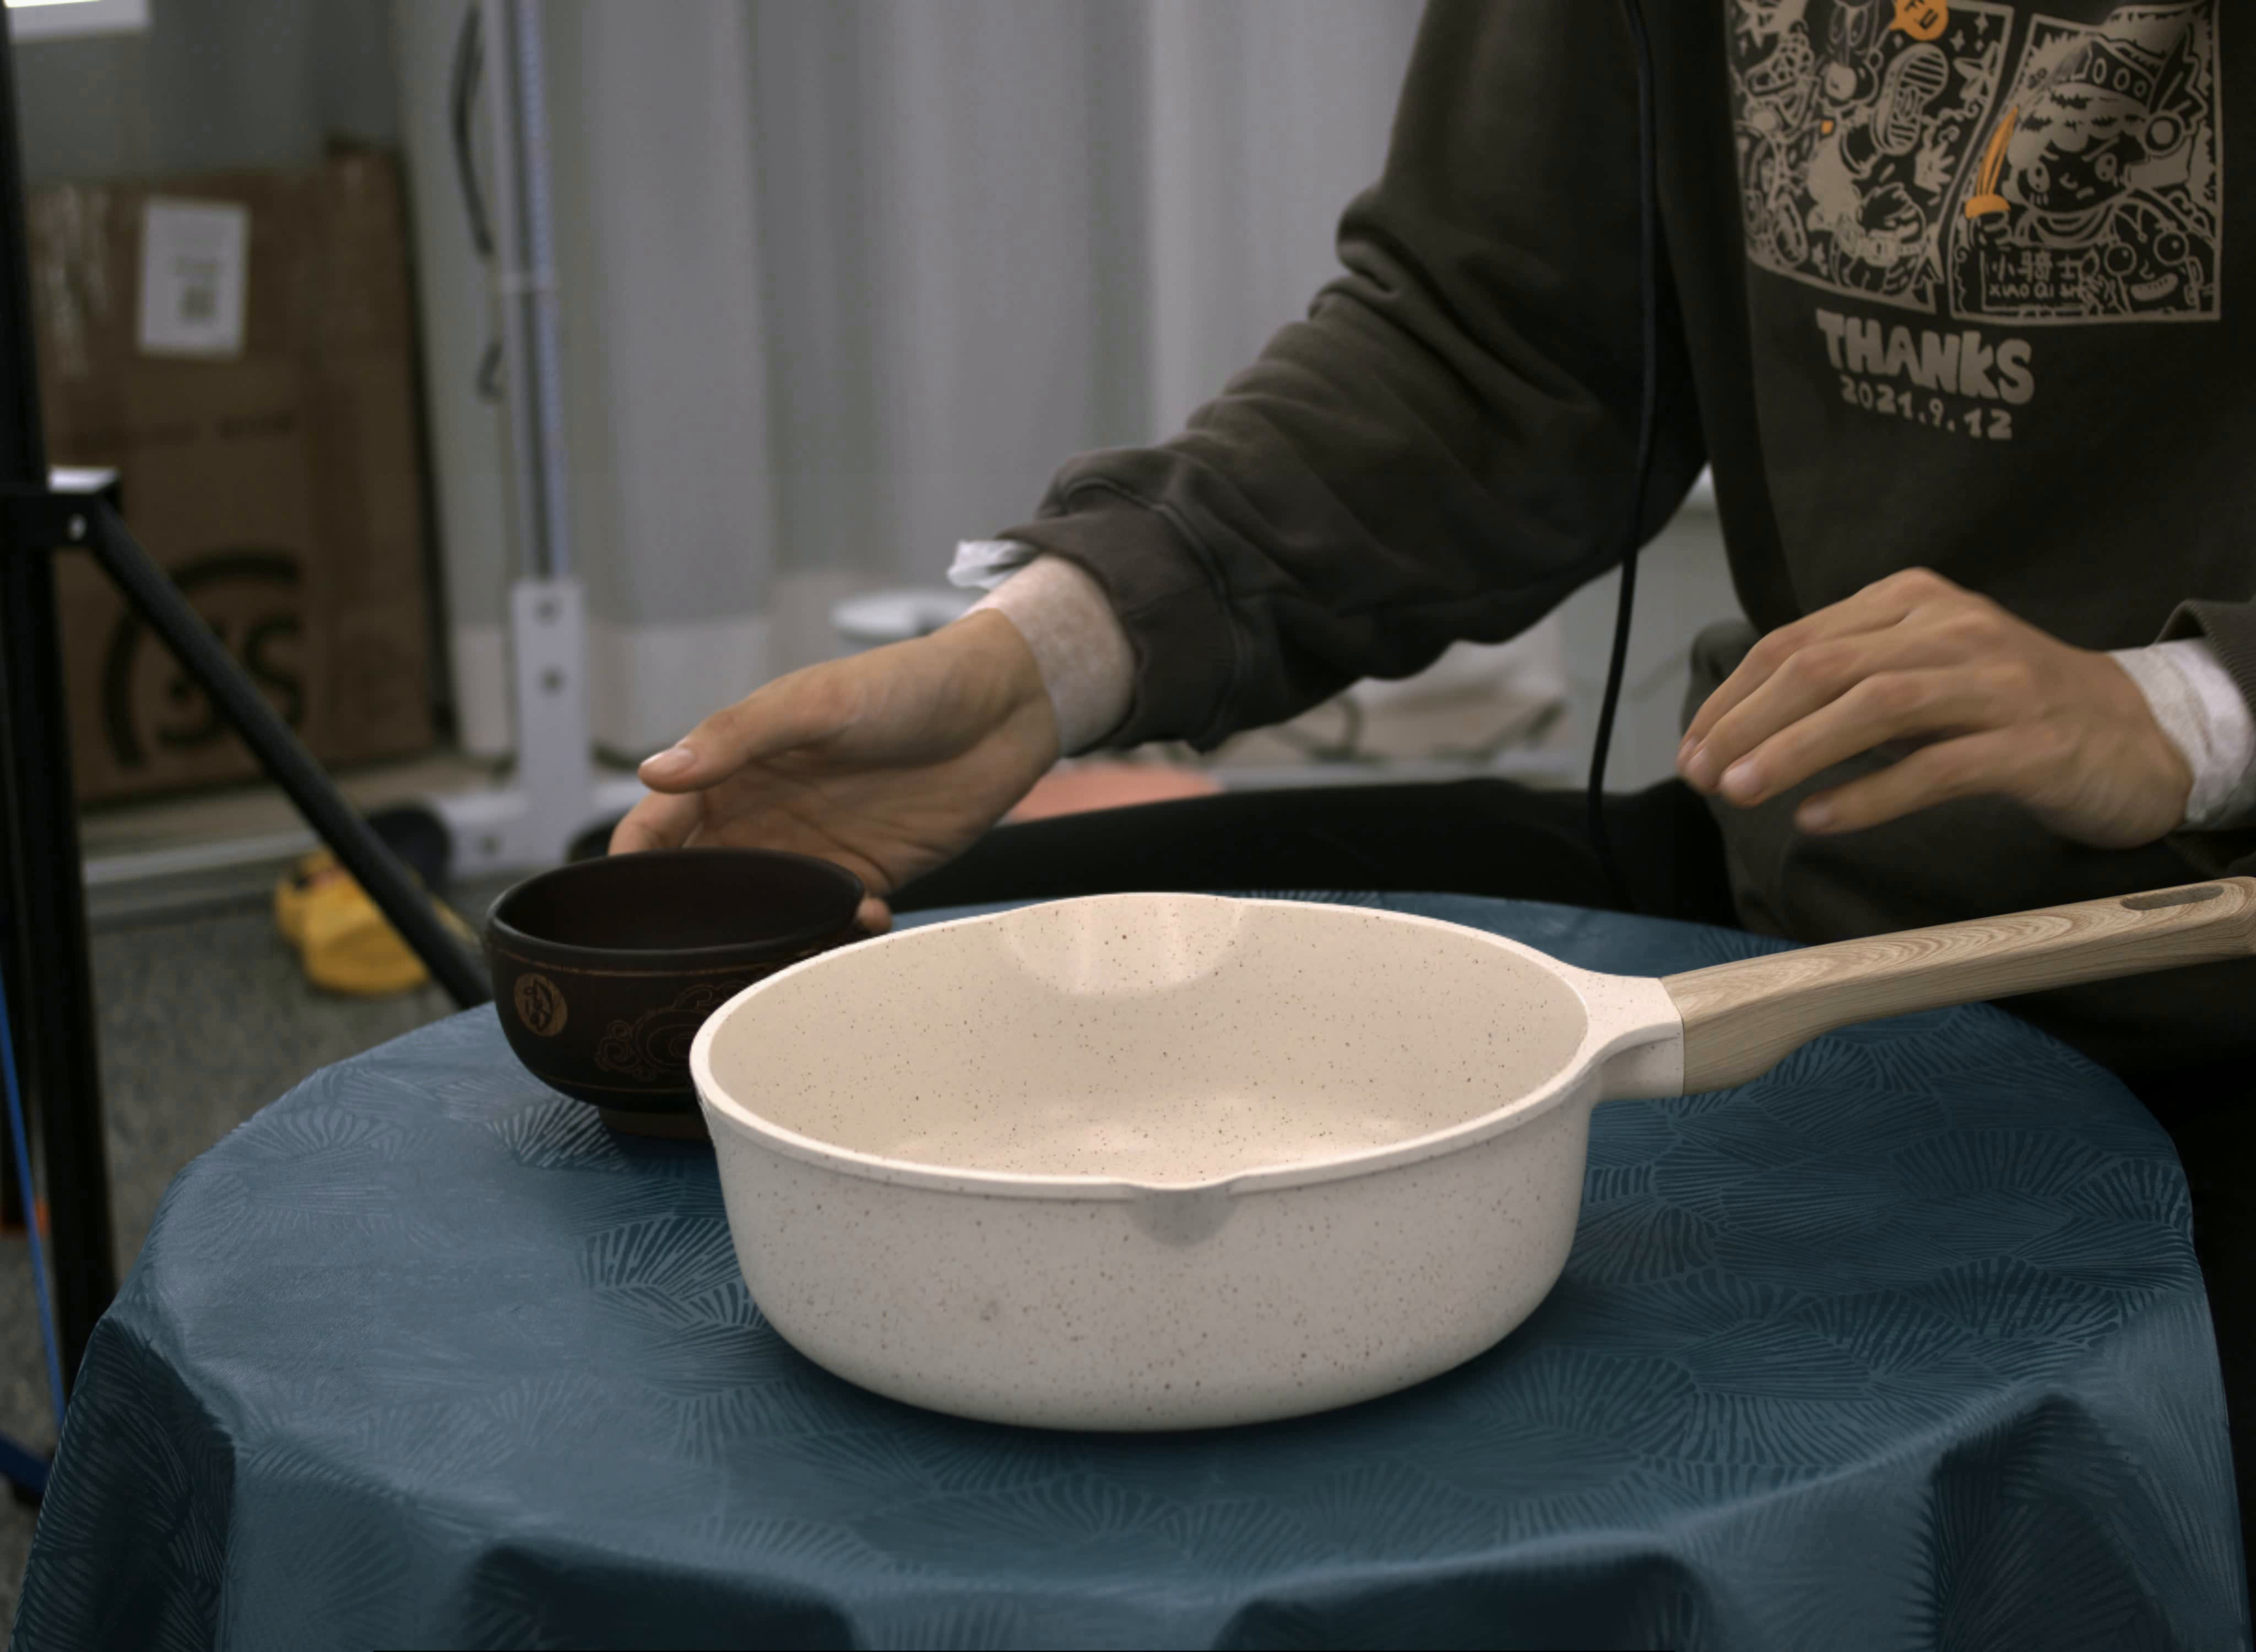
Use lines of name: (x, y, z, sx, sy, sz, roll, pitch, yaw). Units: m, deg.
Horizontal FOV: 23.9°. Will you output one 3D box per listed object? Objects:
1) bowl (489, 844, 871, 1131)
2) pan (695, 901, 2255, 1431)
bowl: (-0.137, 0.053, 1.648, 0.117, 0.070, 0.118, -2, 14, -1)
pan: (0.099, 0.083, 1.454, 0.432, 0.102, 0.265, -3, 14, -2)
